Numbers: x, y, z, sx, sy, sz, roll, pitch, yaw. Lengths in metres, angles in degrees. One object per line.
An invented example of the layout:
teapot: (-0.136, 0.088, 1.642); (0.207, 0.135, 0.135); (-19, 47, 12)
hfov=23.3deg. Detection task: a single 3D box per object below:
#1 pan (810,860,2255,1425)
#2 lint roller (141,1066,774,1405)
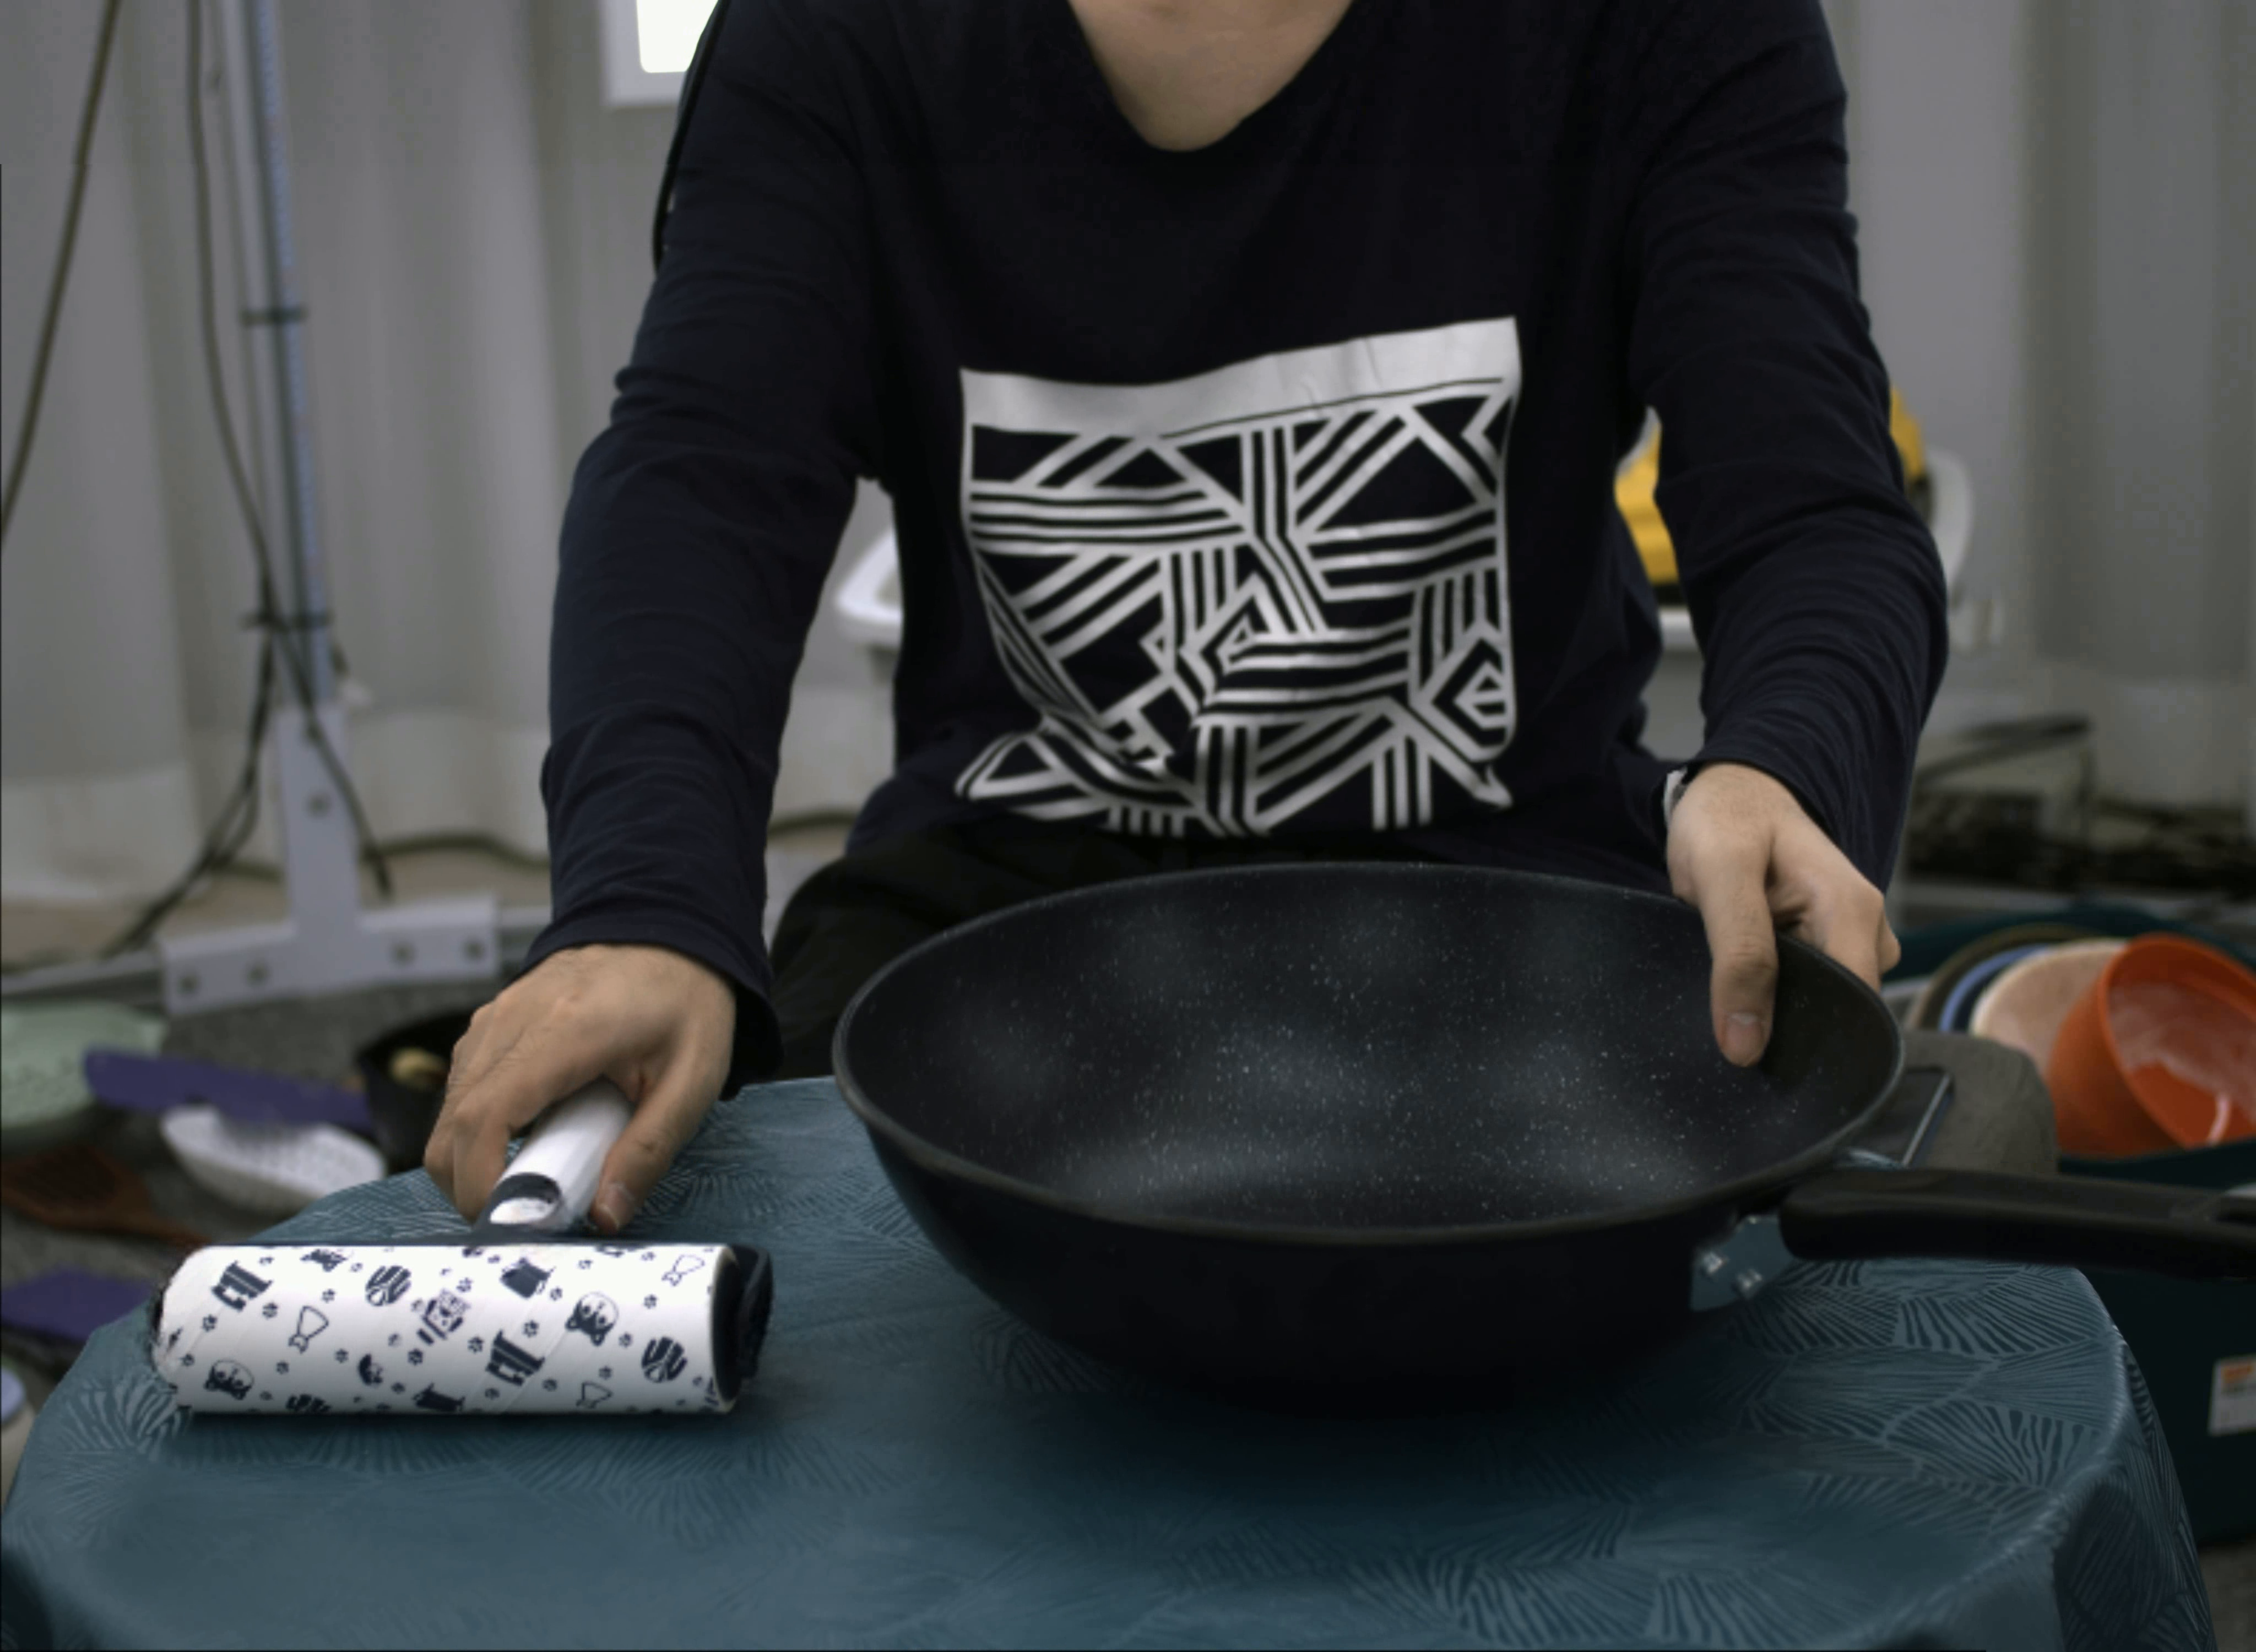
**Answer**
pan: (0.123, 0.105, 1.525); (0.480, 0.111, 0.310); (15, 25, 42)
lint roller: (-0.179, 0.113, 1.649); (0.176, 0.050, 0.248); (-2, 16, 8)
